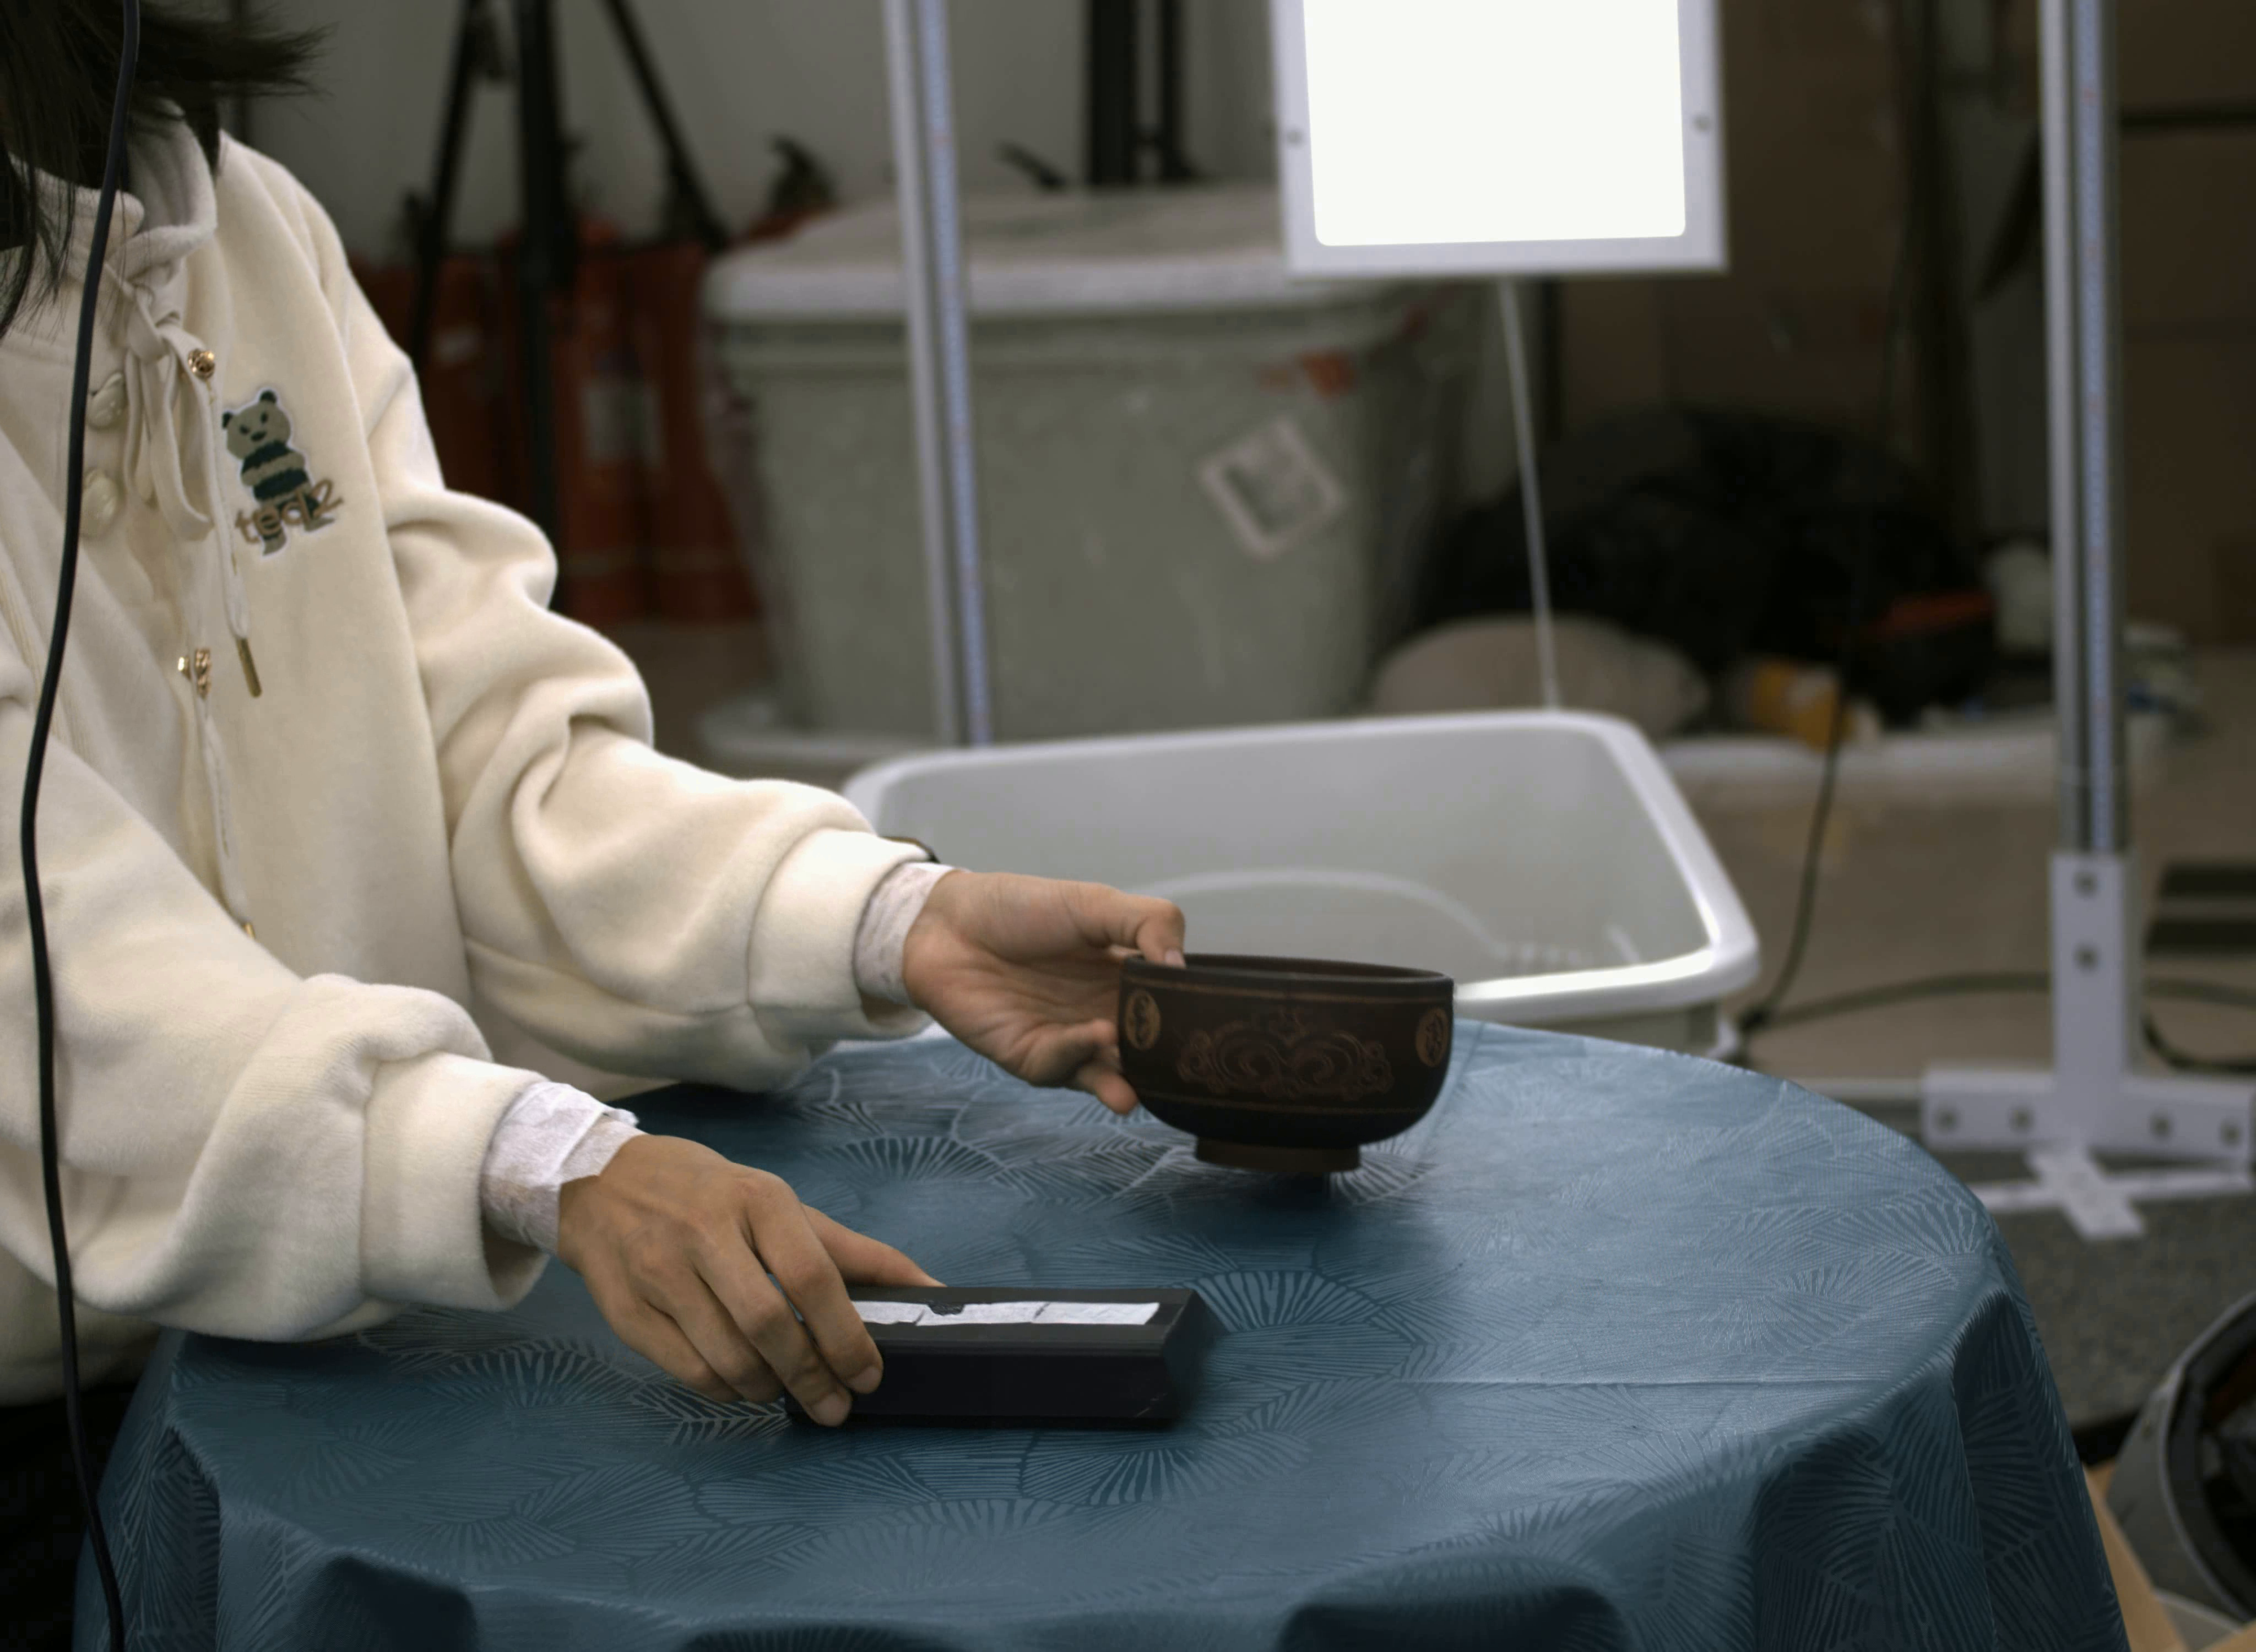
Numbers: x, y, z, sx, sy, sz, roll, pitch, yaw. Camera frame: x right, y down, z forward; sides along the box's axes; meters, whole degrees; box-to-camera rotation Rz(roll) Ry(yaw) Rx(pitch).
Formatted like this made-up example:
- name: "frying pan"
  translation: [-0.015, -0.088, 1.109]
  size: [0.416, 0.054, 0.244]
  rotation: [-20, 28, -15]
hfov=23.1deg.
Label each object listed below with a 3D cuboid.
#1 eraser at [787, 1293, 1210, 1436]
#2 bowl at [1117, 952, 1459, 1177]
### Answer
- name: "eraser"
  translation: [-0.038, 0.165, 1.697]
  size: [0.127, 0.030, 0.053]
  rotation: [-3, 14, 17]
- name: "bowl"
  translation: [0.055, 0.082, 1.879]
  size: [0.117, 0.070, 0.118]
  rotation: [1, 3, -1]
